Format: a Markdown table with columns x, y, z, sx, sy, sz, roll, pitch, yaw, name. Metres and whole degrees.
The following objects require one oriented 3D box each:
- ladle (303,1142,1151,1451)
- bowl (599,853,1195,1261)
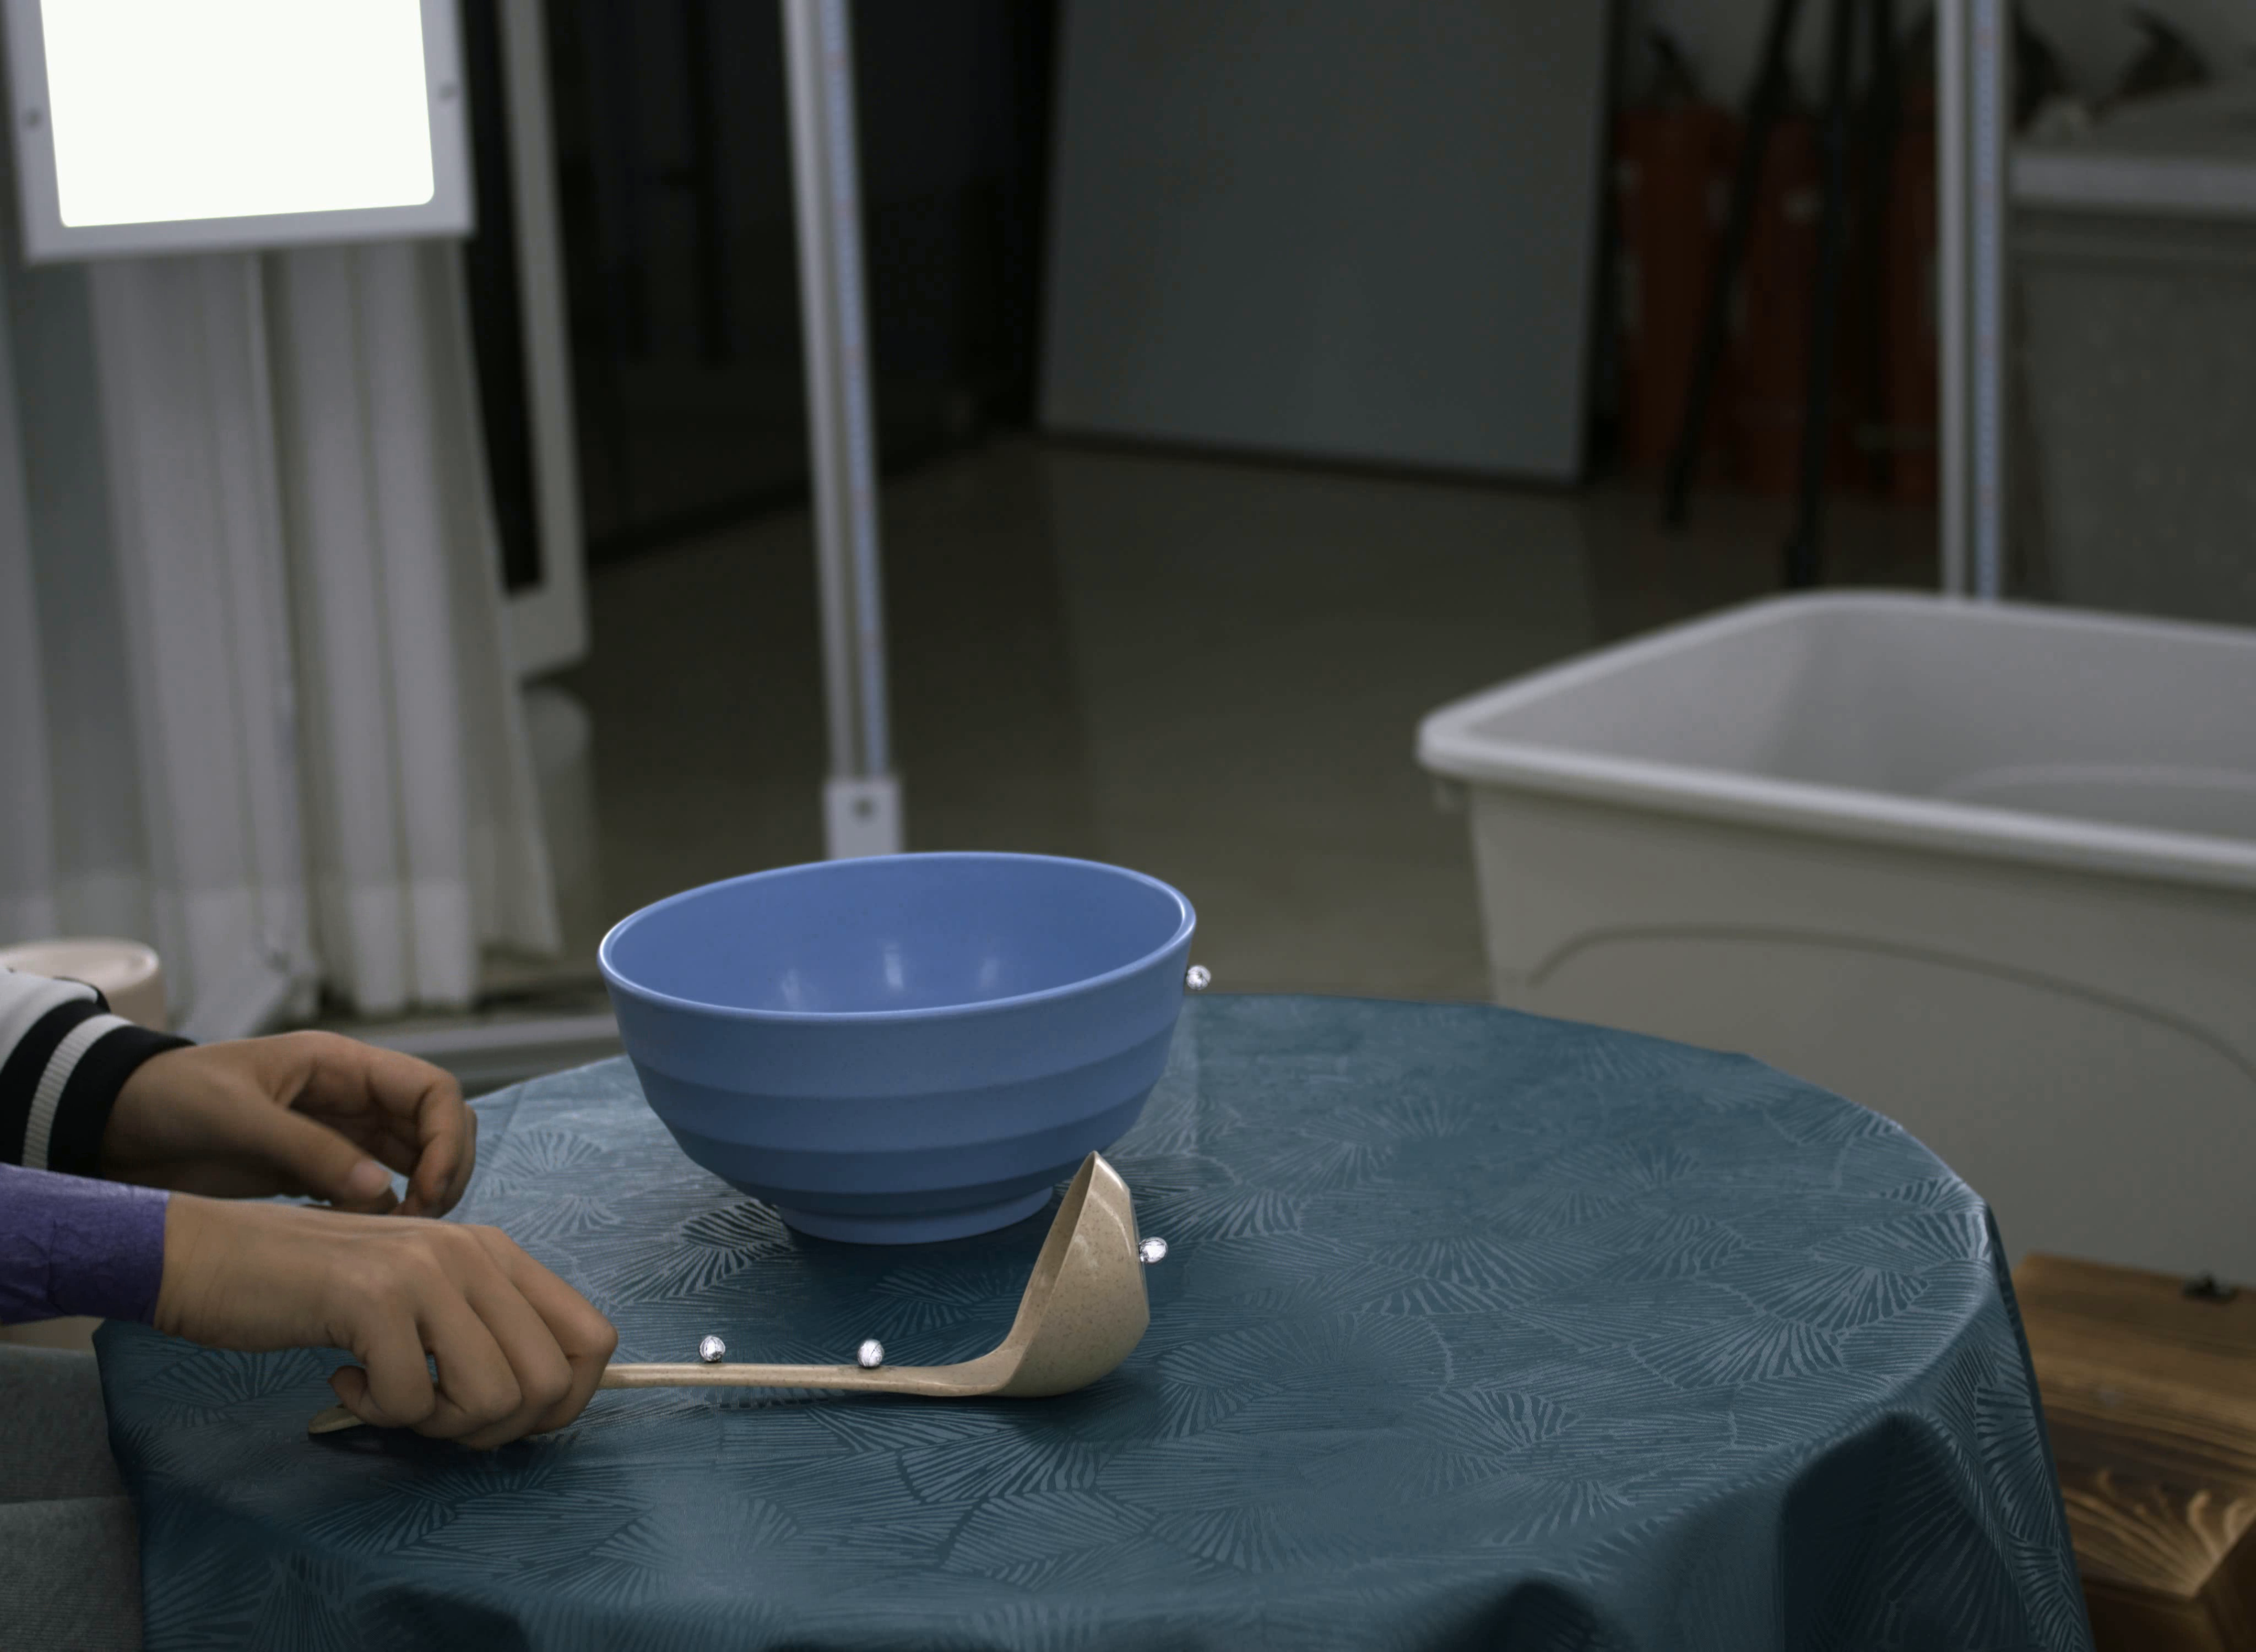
| x | y | z | sx | sy | sz | roll | pitch | yaw | name |
| --- | --- | --- | --- | --- | --- | --- | --- | --- | --- |
| -0.119 | 0.138 | 1.585 | 0.251 | 0.073 | 0.072 | -4 | 12 | 1 | ladle |
| -0.072 | 0.082 | 1.765 | 0.194 | 0.096 | 0.197 | -4 | 15 | 0 | bowl |
